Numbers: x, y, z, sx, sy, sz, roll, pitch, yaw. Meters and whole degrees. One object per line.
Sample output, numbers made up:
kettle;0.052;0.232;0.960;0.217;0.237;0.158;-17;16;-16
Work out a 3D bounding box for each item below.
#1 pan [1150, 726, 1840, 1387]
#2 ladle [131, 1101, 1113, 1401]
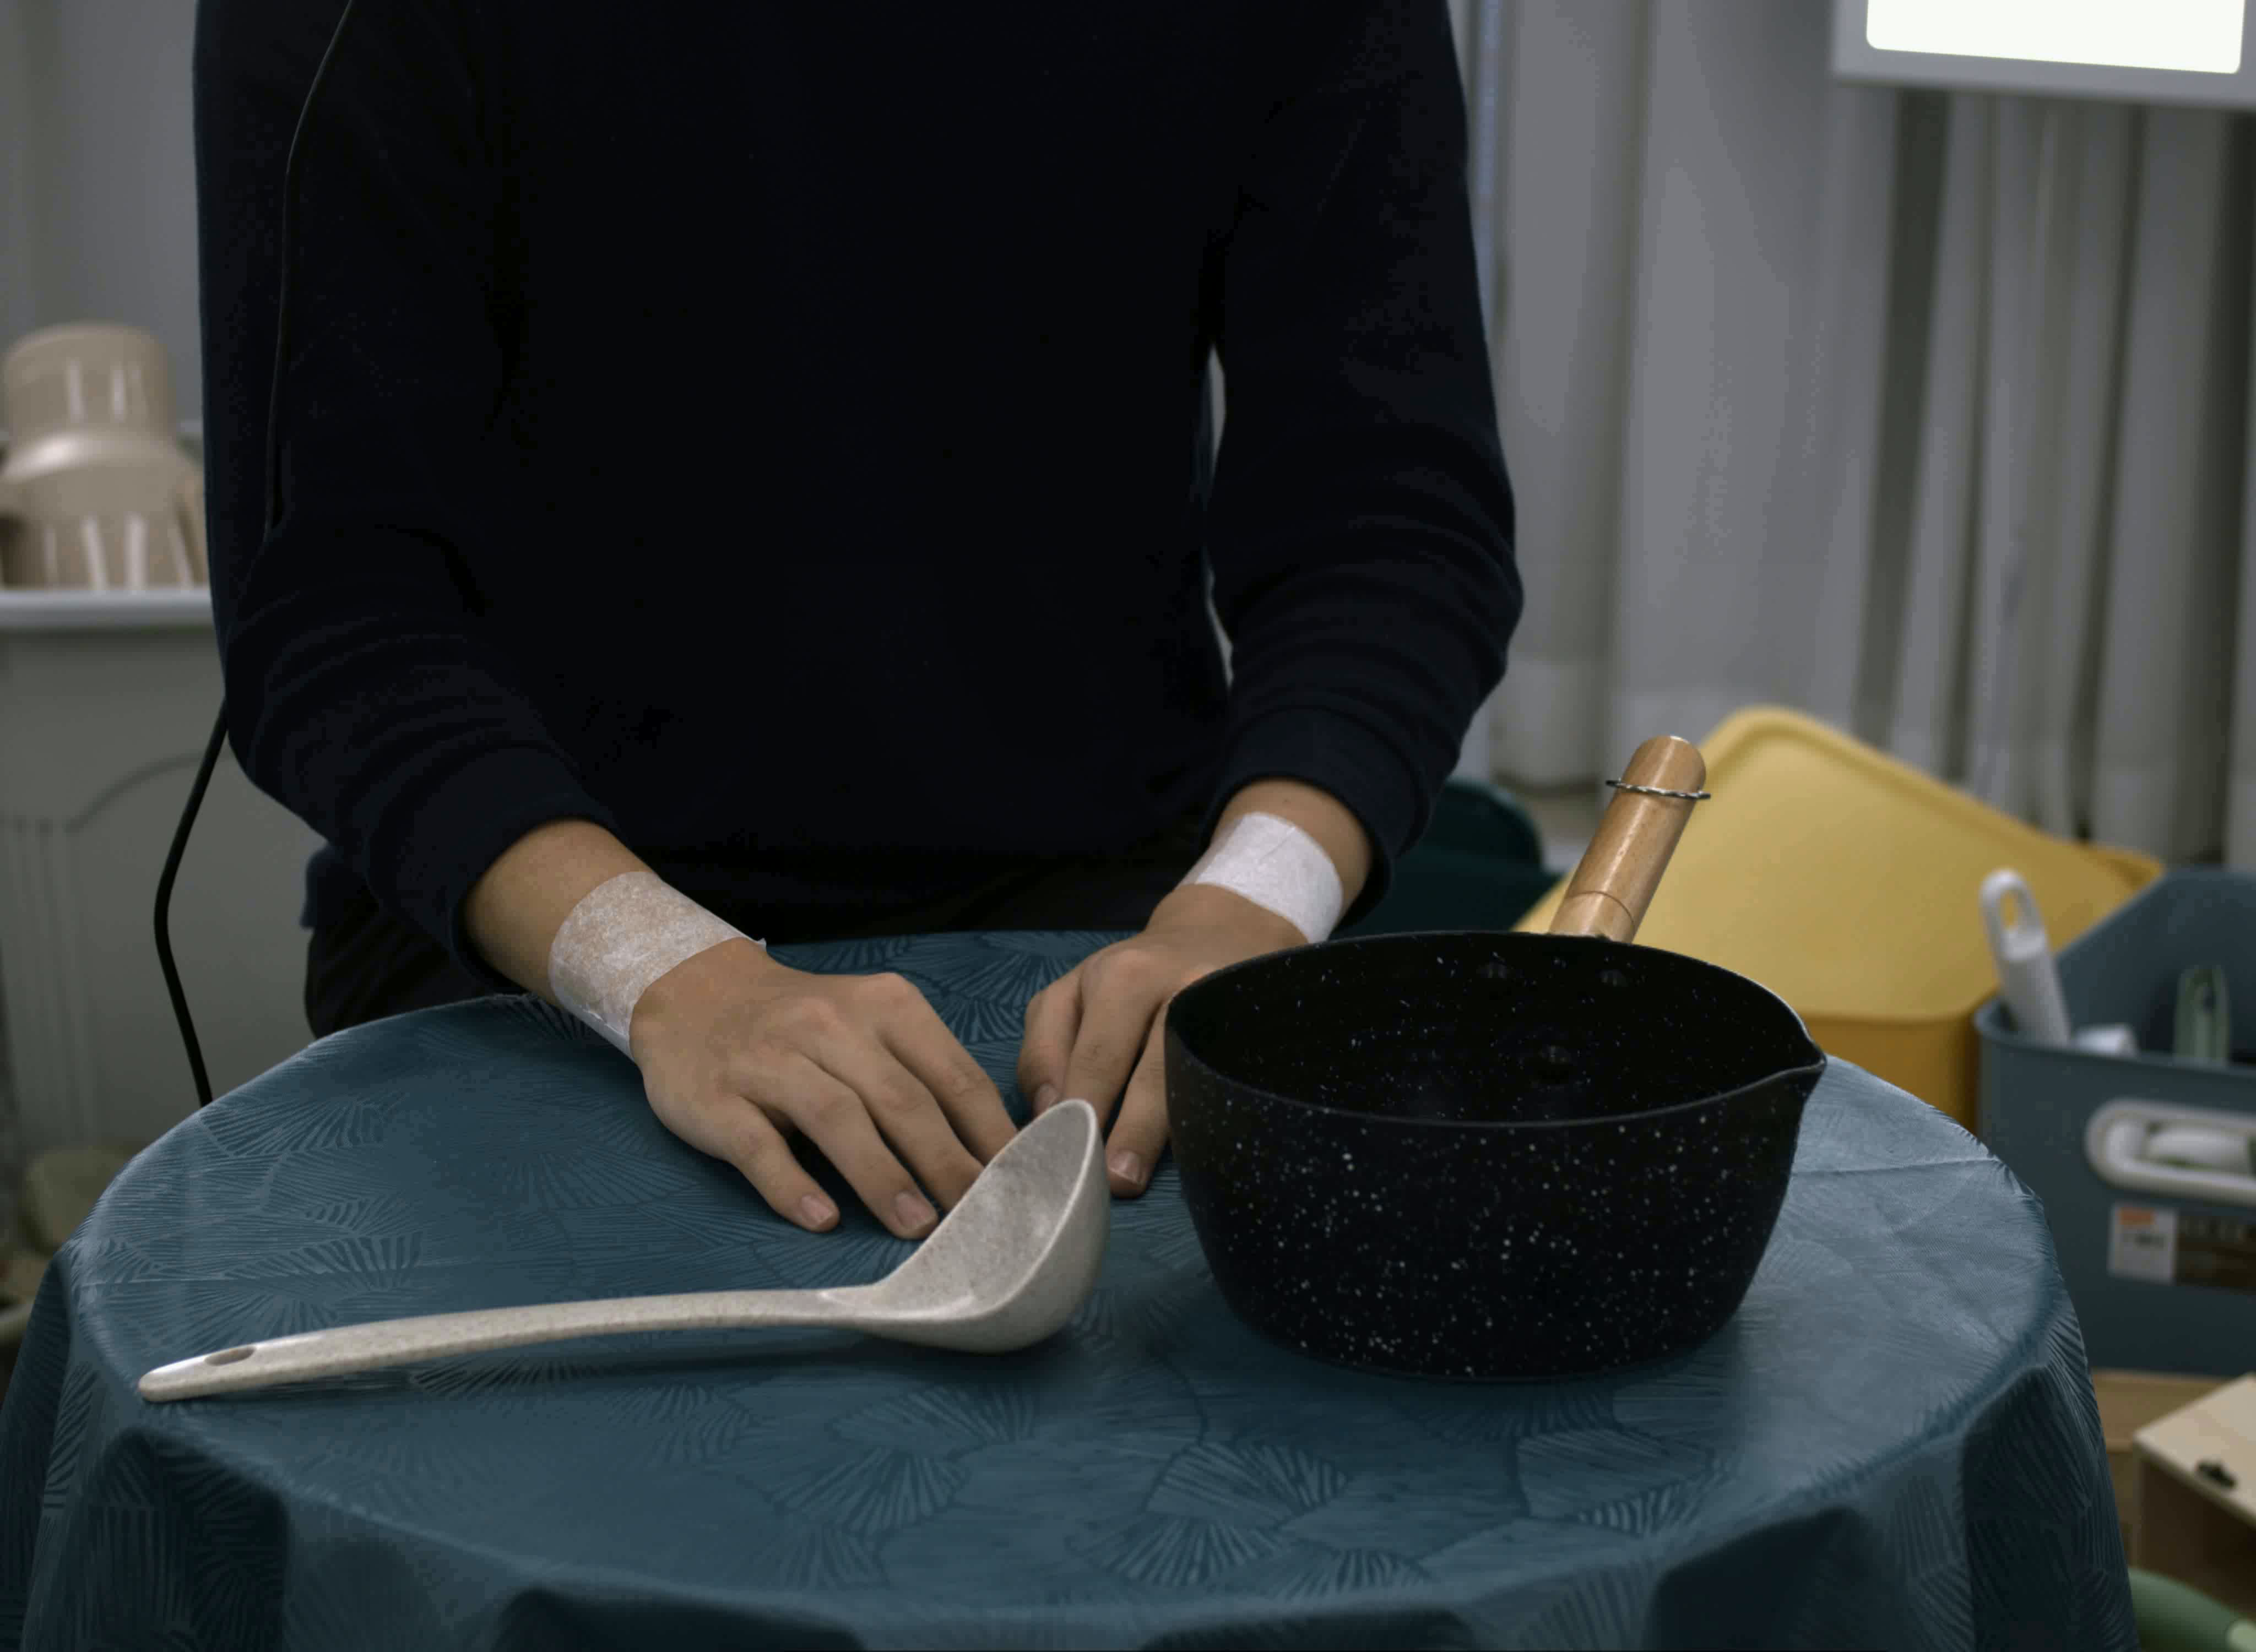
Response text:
pan;0.125;0.064;1.596;0.206;0.109;0.342;4;17;16
ladle;-0.140;0.118;1.468;0.275;0.070;0.088;-2;20;-11
